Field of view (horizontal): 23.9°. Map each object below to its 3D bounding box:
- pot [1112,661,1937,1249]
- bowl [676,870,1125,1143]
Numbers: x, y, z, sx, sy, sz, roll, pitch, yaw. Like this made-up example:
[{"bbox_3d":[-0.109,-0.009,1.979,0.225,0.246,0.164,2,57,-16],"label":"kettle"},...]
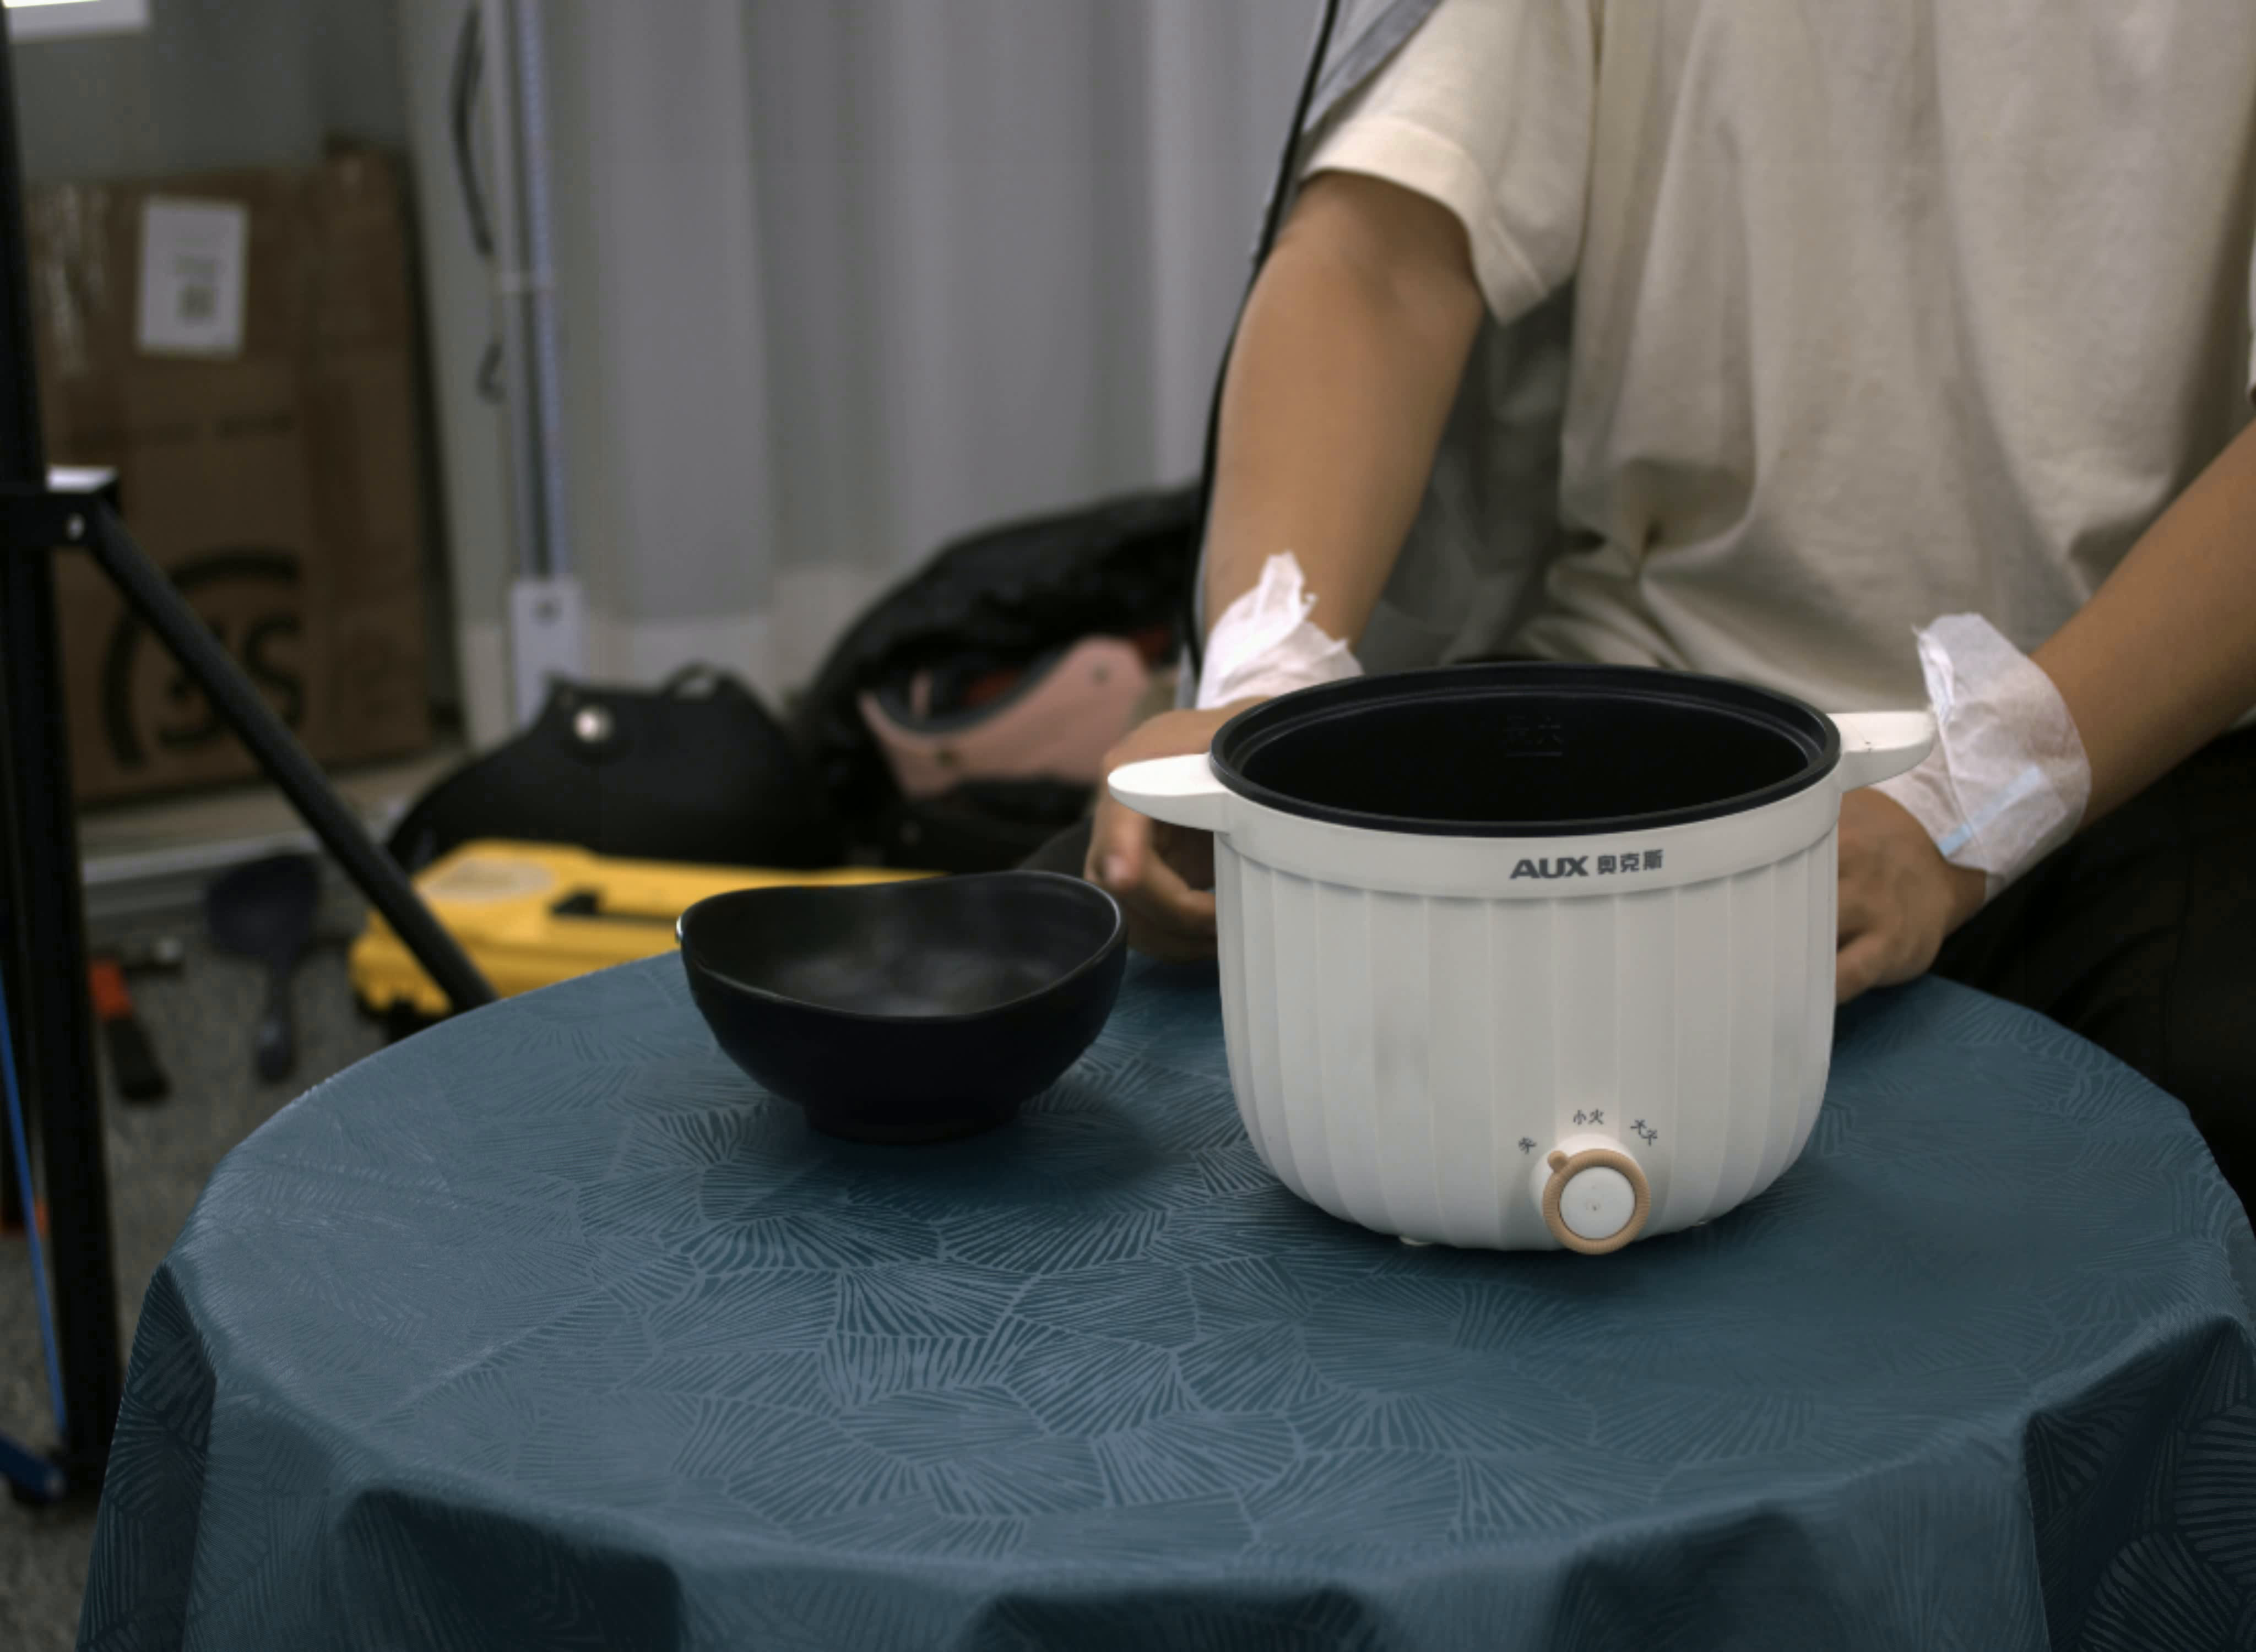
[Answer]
[{"bbox_3d":[0.118,0.040,1.524,0.238,0.143,0.192,-5,12,-5],"label":"pot"},{"bbox_3d":[-0.068,0.057,1.628,0.136,0.067,0.172,-5,14,-7],"label":"bowl"}]
